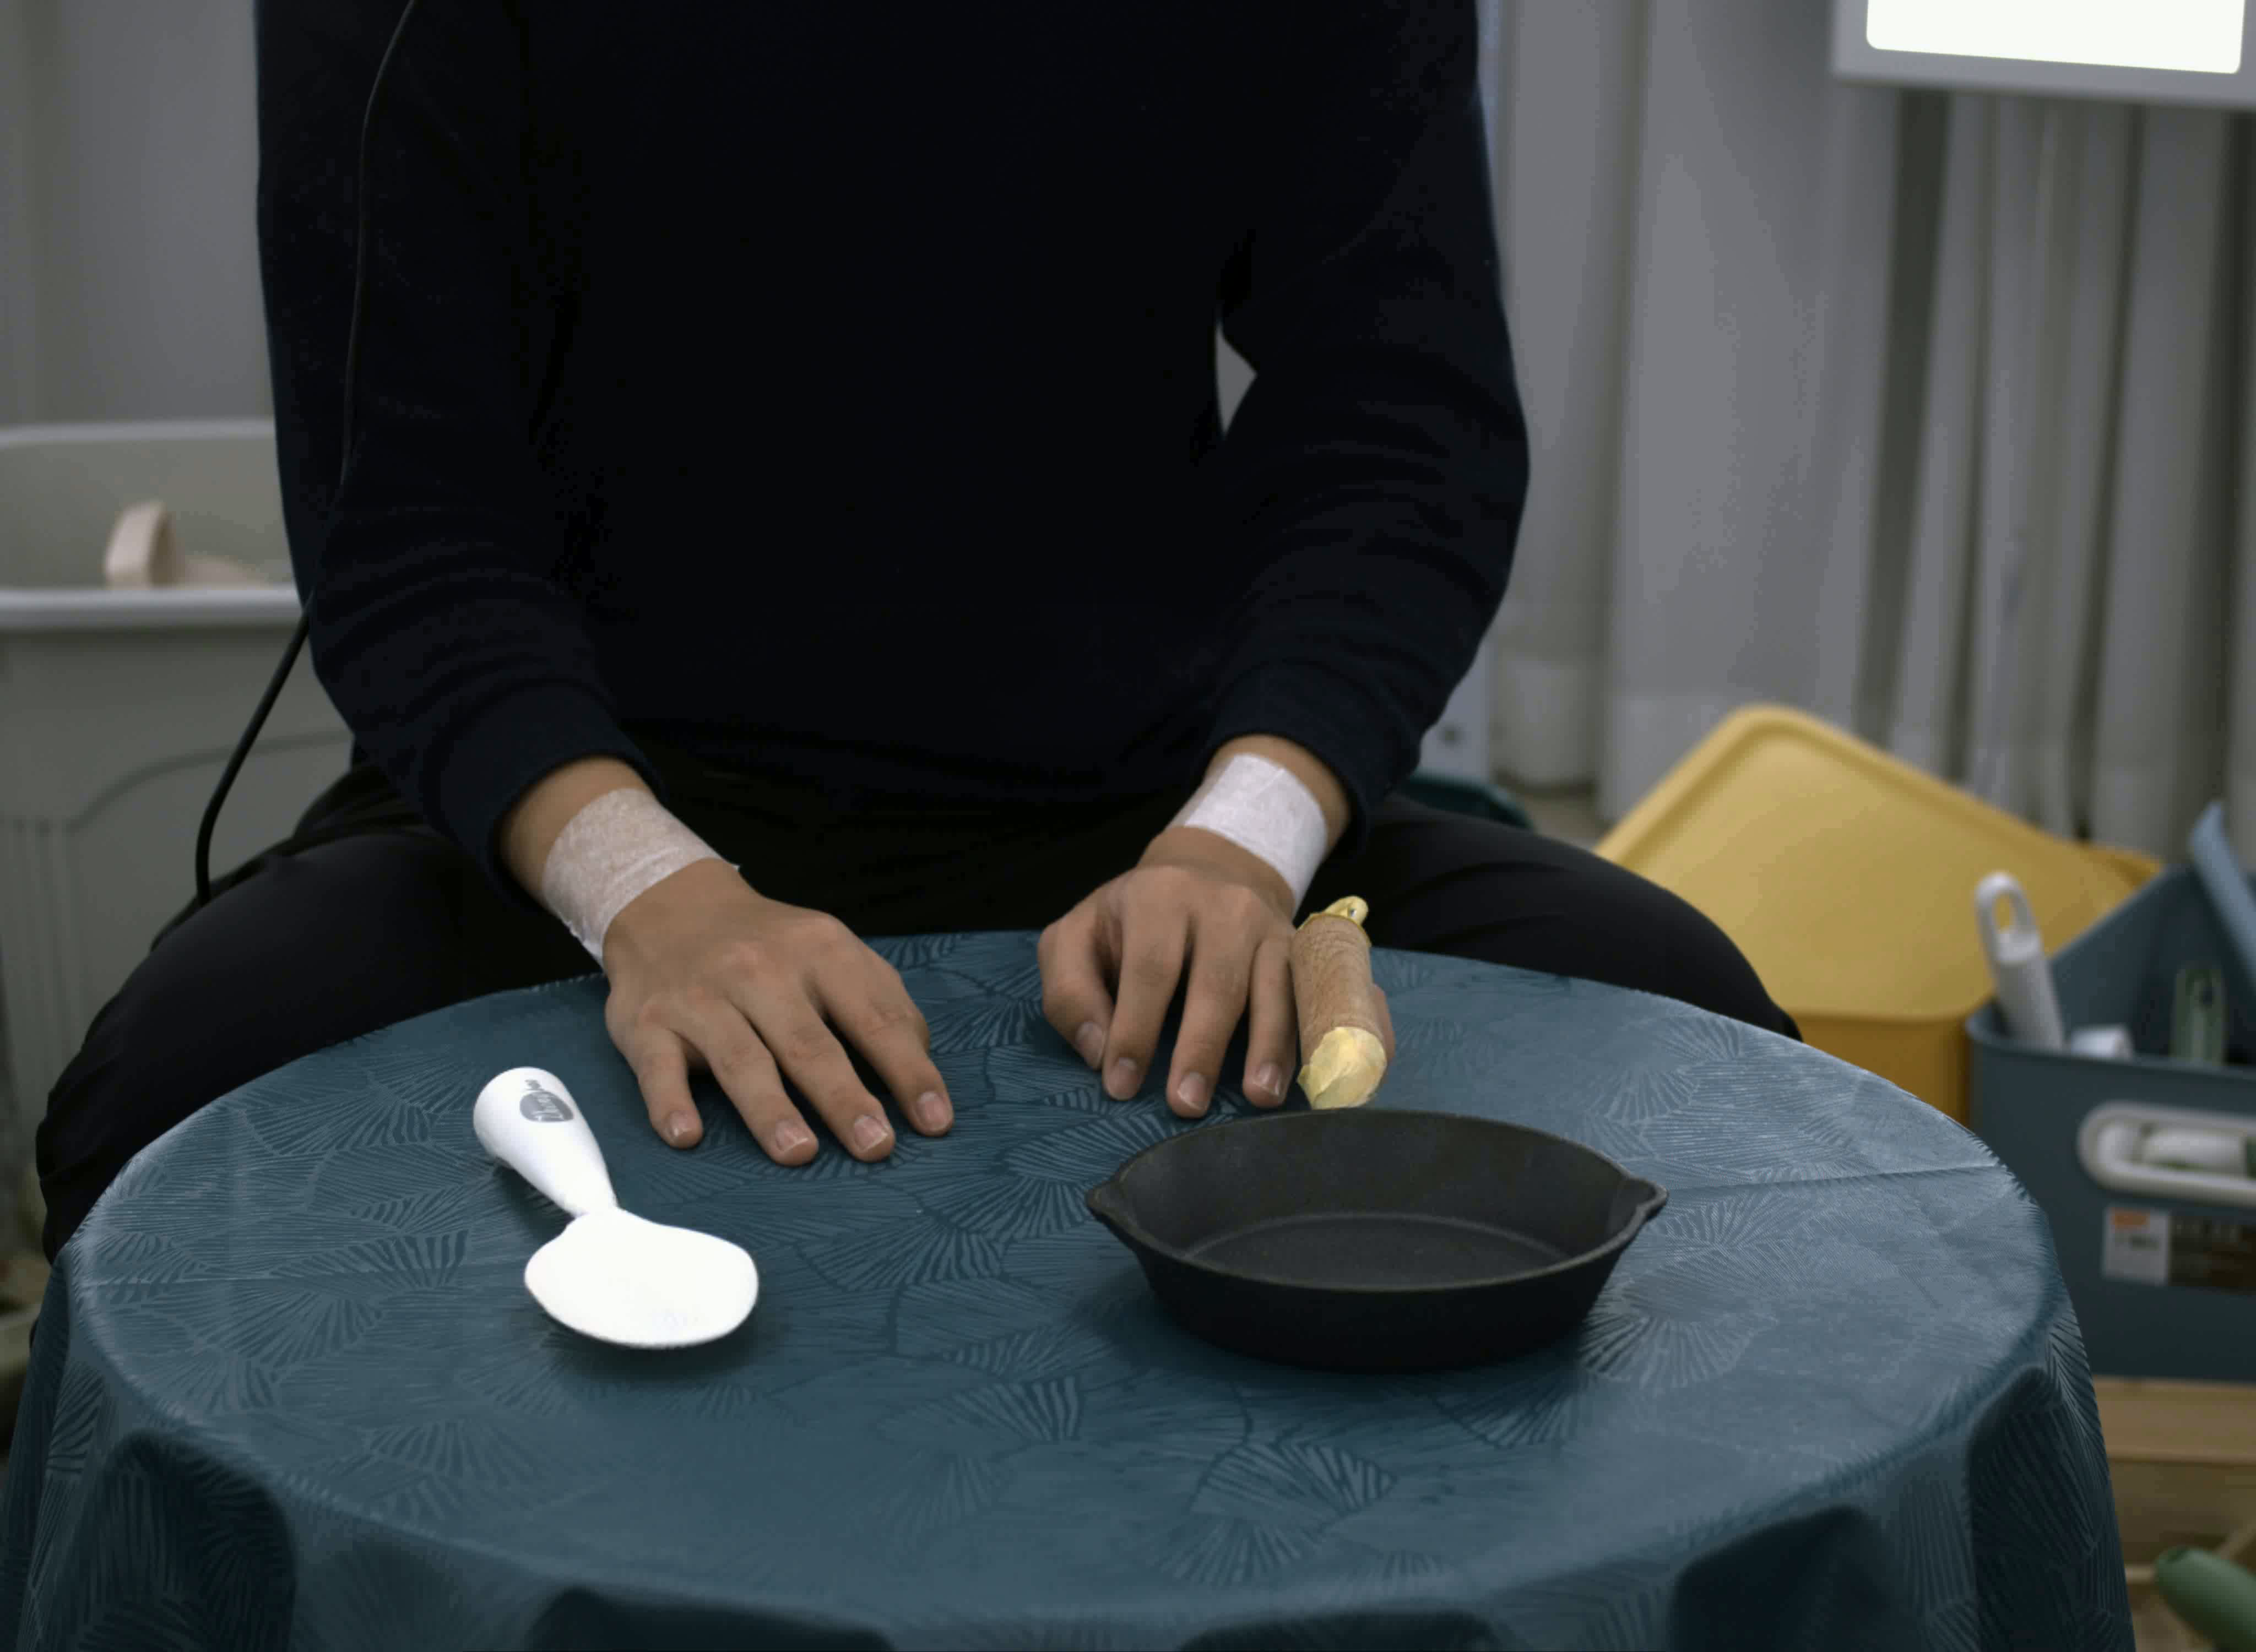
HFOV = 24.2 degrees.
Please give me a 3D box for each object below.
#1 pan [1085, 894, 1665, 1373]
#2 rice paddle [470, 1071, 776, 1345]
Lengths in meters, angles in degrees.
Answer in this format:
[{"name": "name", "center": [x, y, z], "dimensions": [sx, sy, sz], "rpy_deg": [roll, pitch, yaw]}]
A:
[{"name": "pan", "center": [0.072, 0.090, 1.609], "dimensions": [0.168, 0.050, 0.322], "rpy_deg": [0, 17, 0]}, {"name": "rice paddle", "center": [-0.156, 0.115, 1.555], "dimensions": [0.069, 0.029, 0.203], "rpy_deg": [-7, 17, -19]}]
